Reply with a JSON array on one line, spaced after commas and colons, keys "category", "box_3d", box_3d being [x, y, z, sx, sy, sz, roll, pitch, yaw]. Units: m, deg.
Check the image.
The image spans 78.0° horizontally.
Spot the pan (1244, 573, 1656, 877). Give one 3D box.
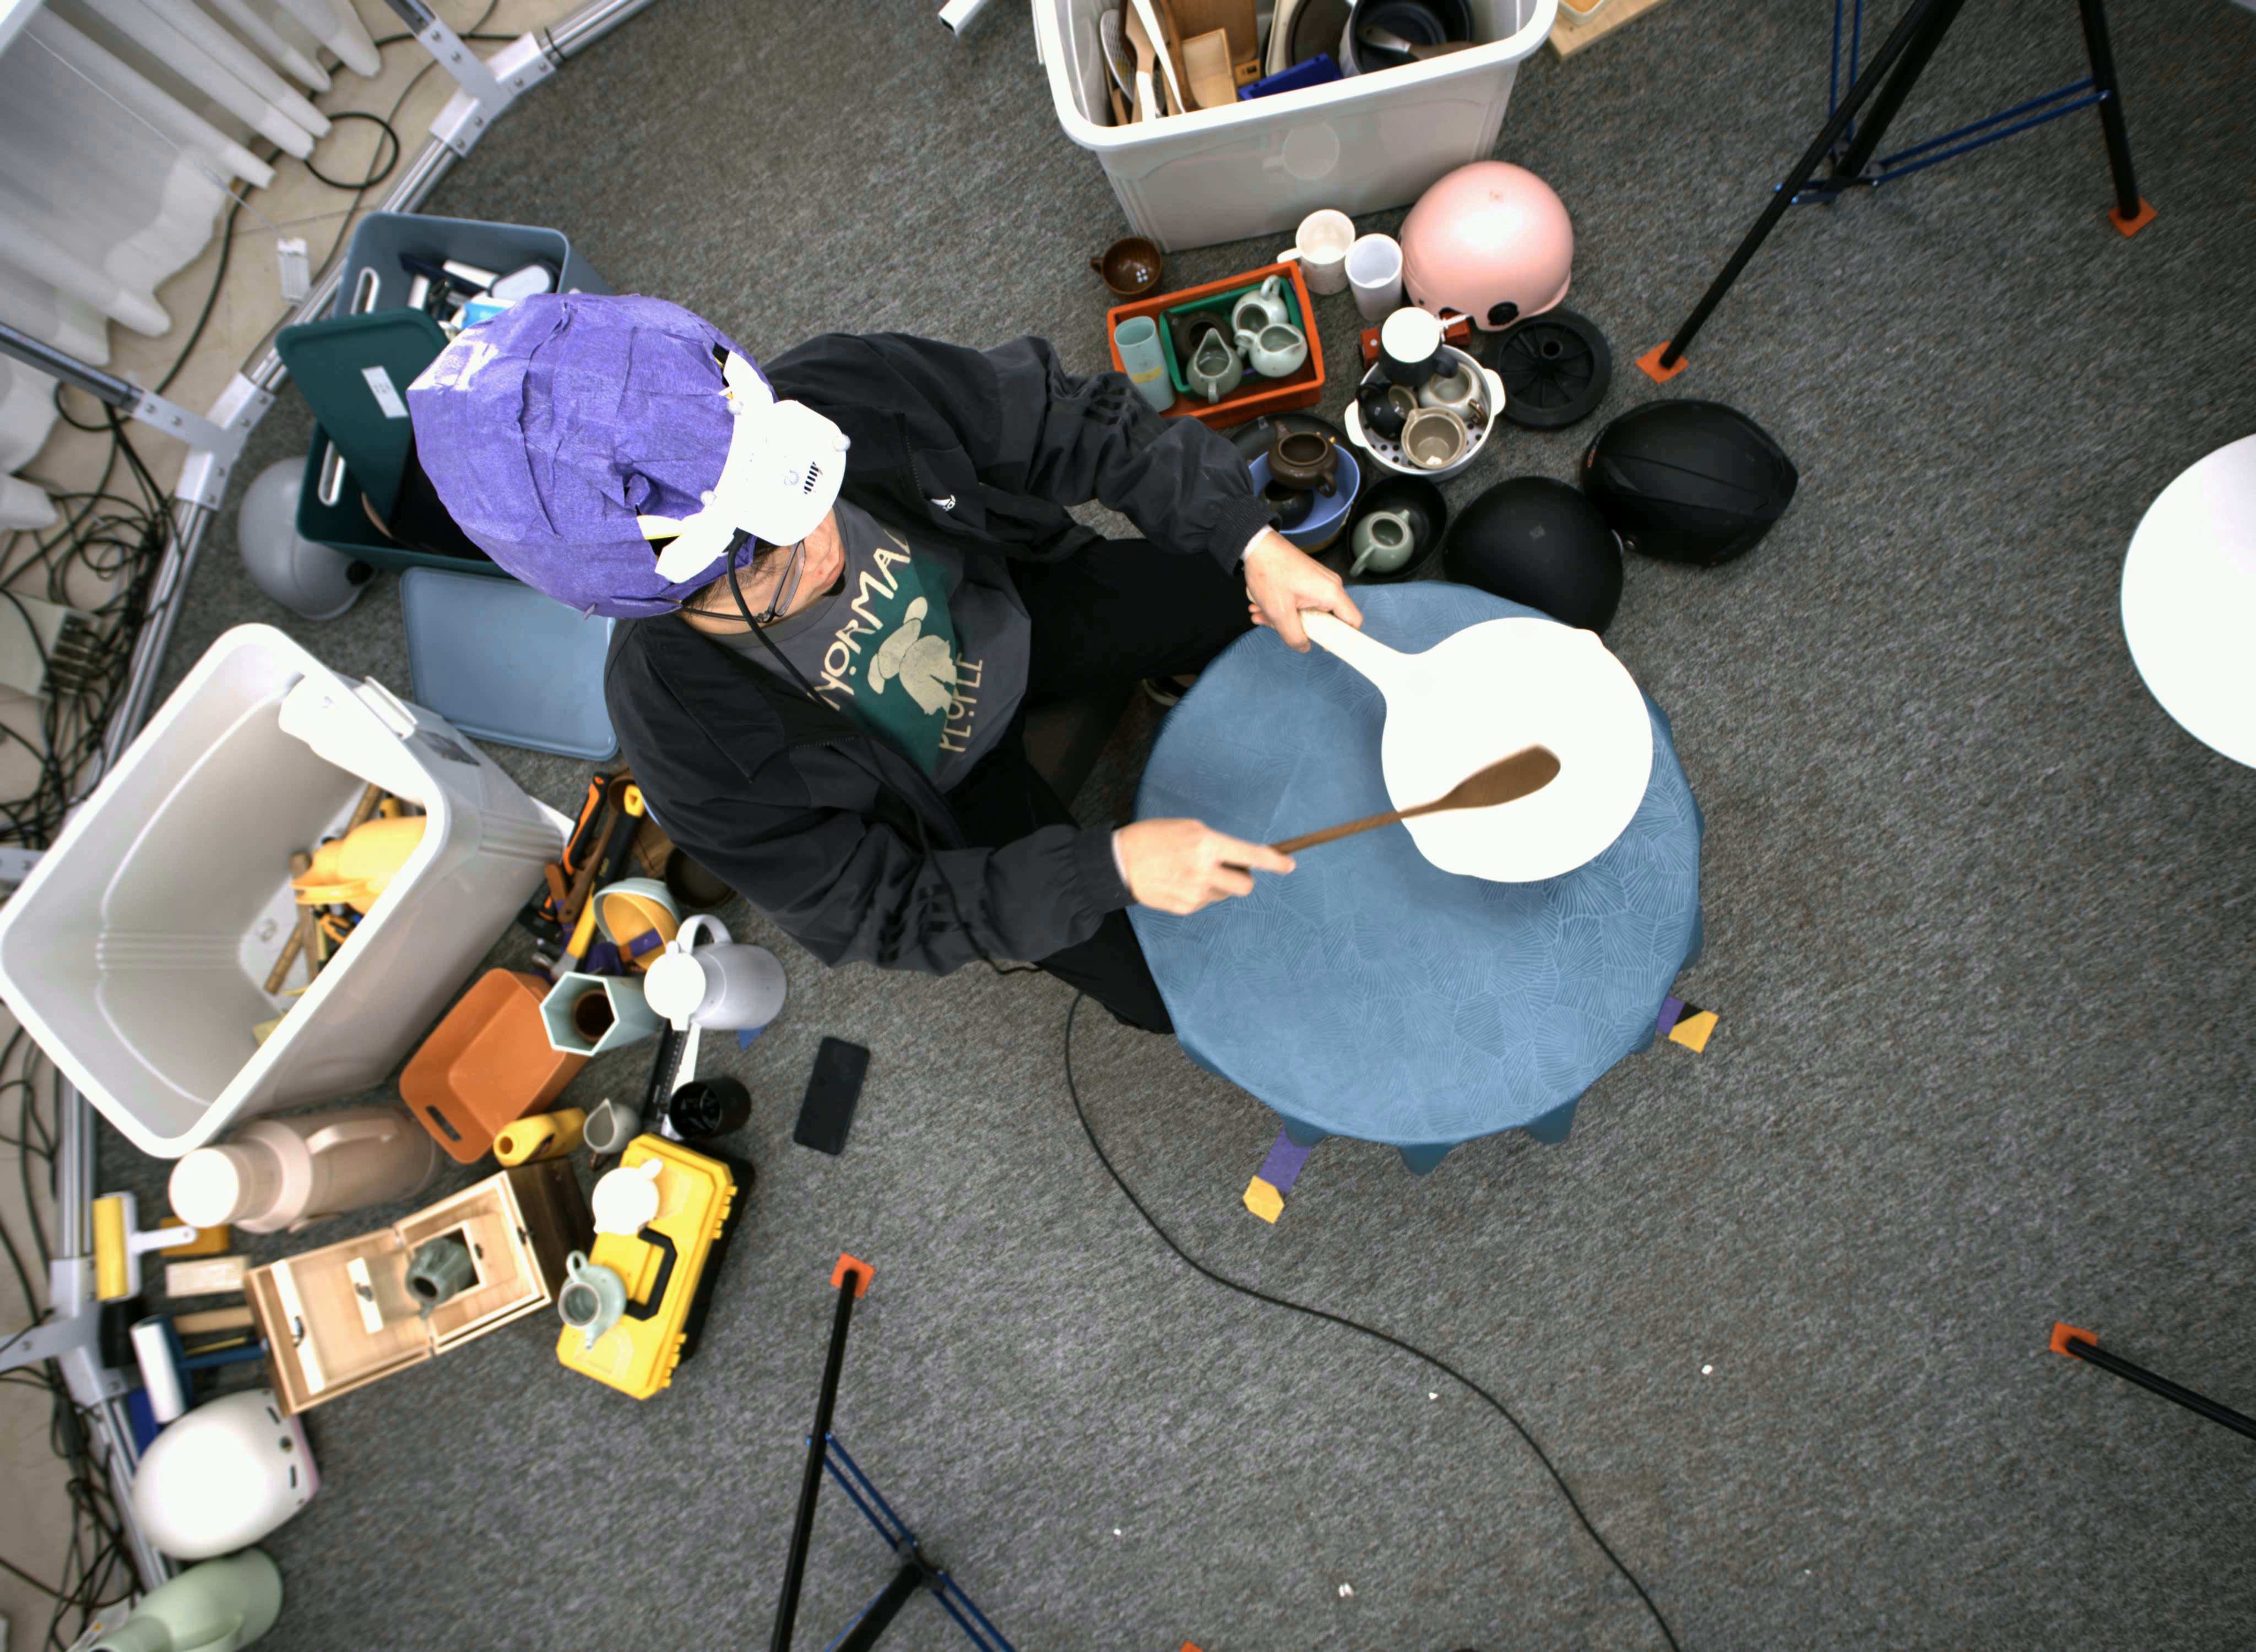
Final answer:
[{"category": "pan", "box_3d": [0.308, -0.130, 1.352, 0.432, 0.101, 0.267, 36, 106, 17]}]

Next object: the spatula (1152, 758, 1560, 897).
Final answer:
[{"category": "spatula", "box_3d": [0.195, 0.007, 1.239, 0.390, 0.096, 0.015, -17, 70, 22]}]
